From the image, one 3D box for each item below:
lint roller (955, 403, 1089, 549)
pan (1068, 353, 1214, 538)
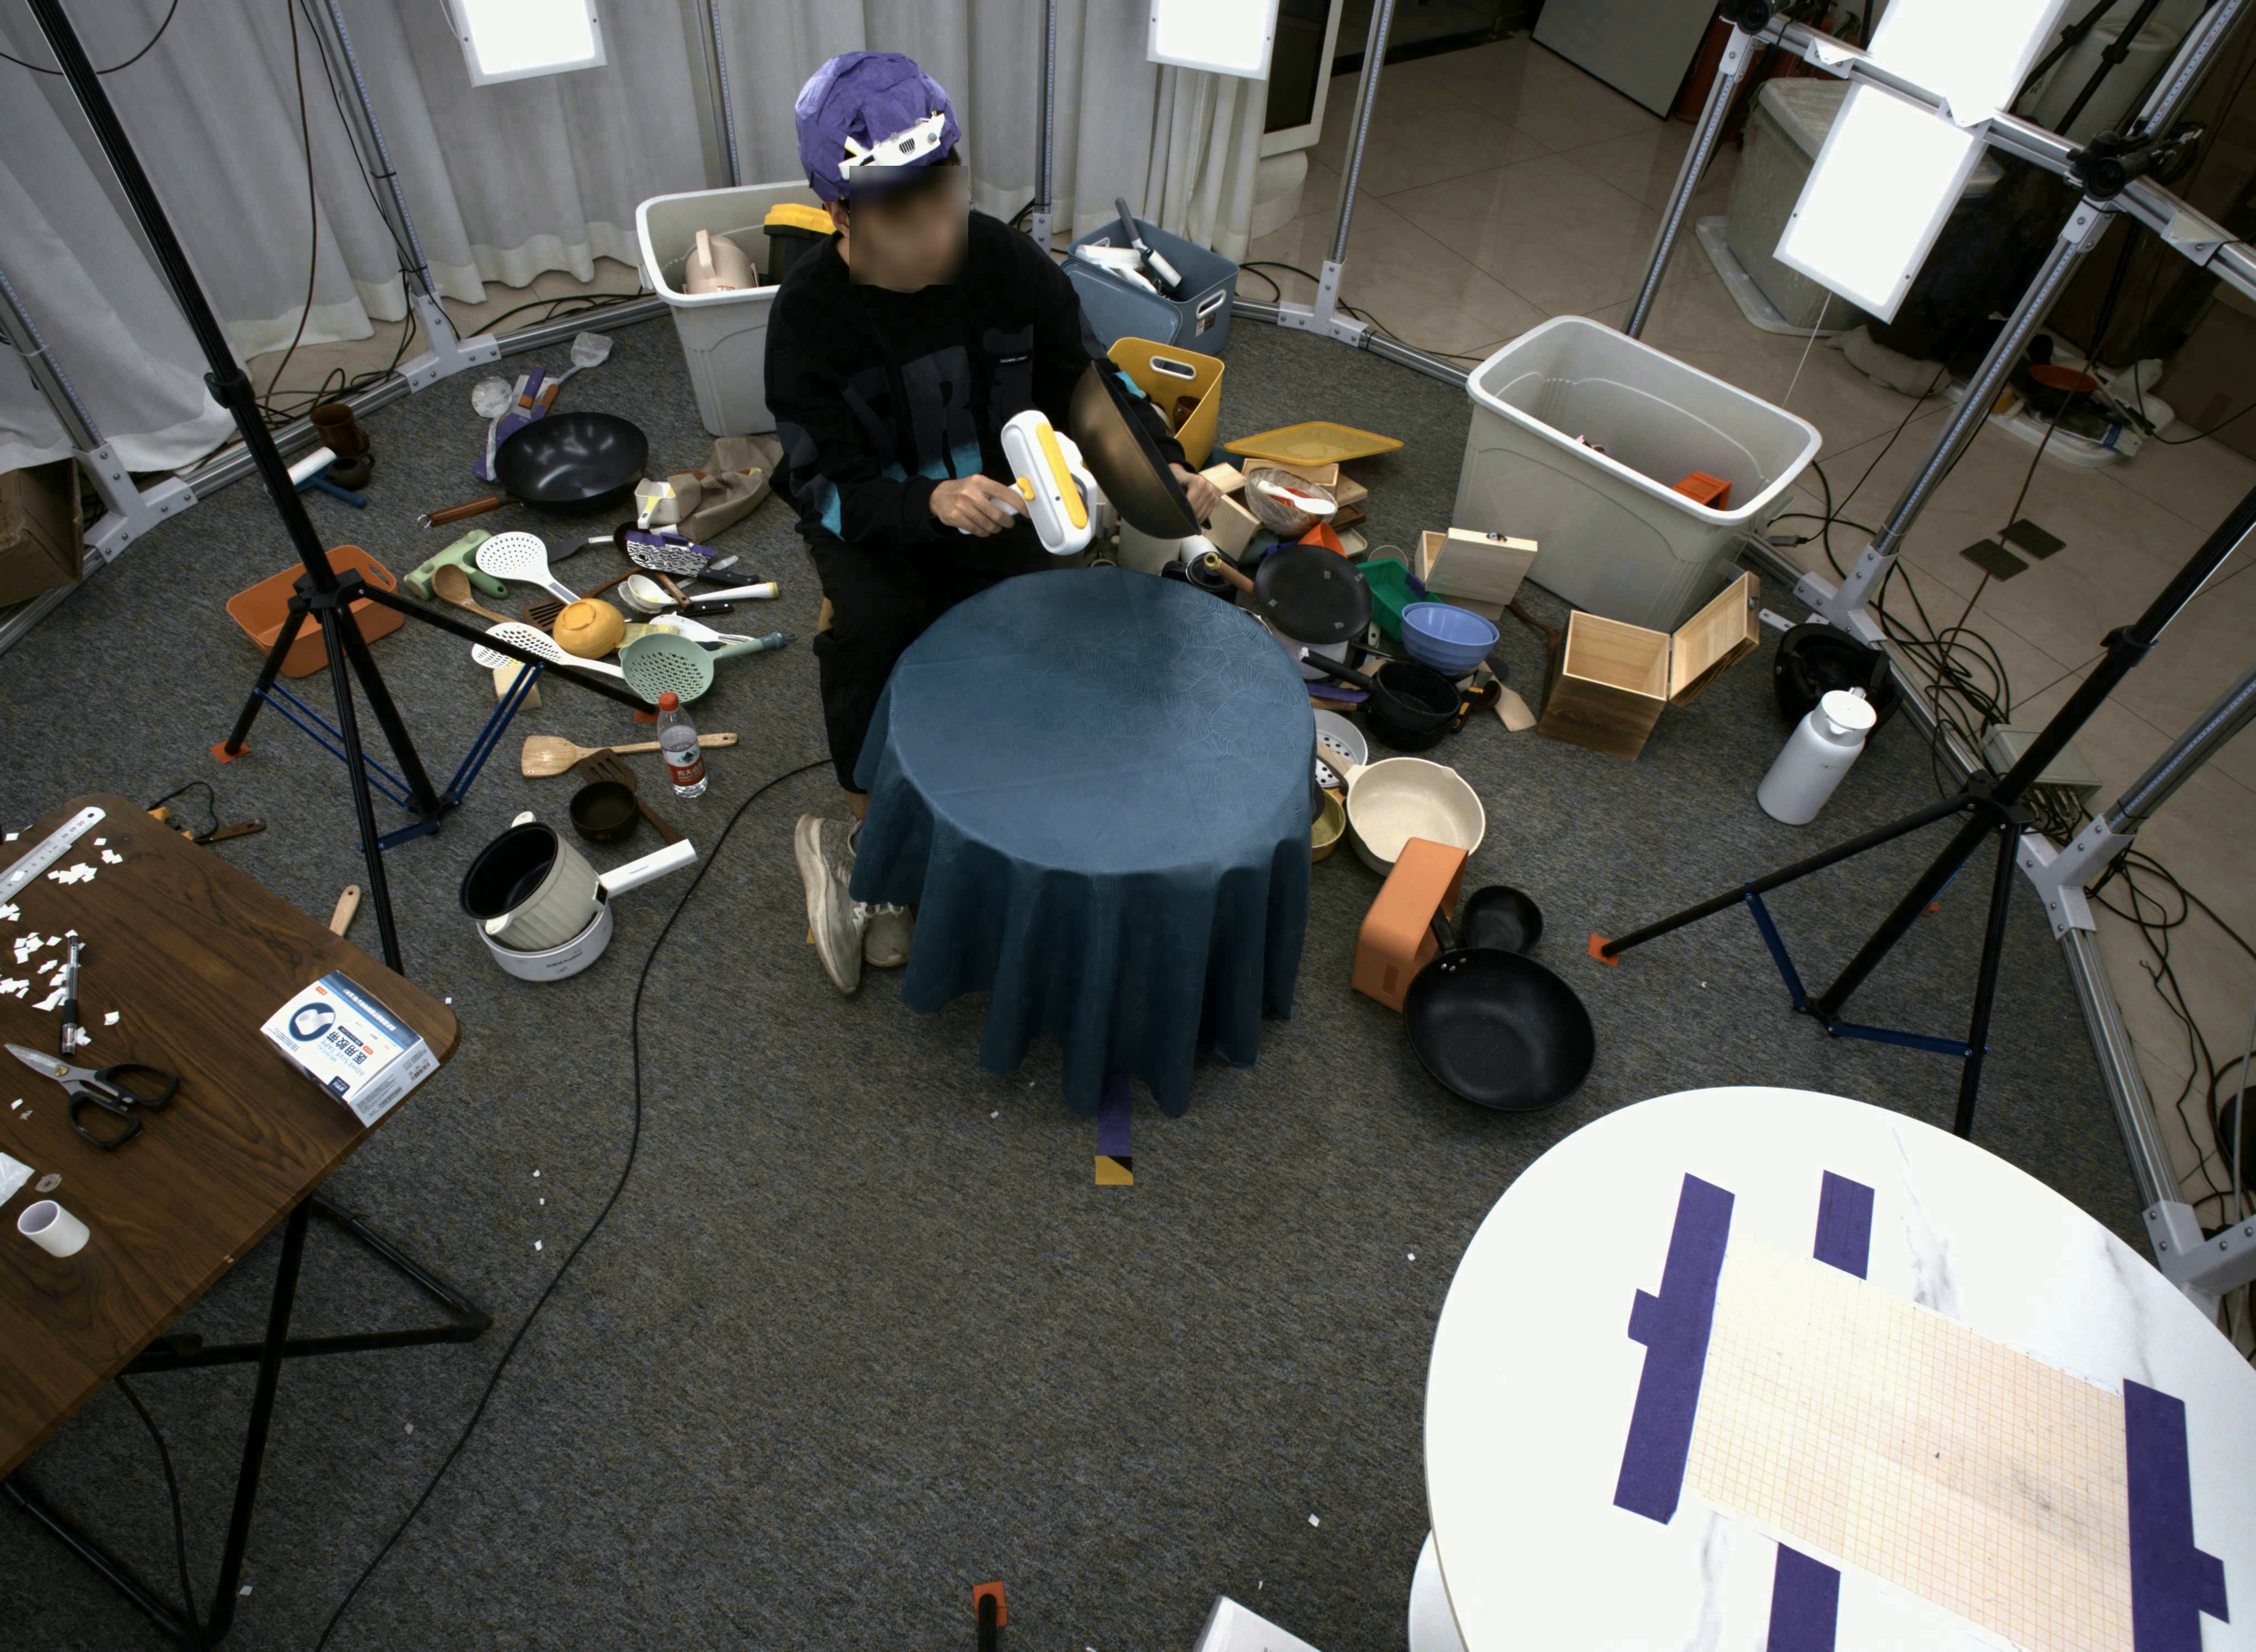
[{"bbox_3d":[-0.156,-0.442,1.734,0.075,0.191,0.192,-36,101,-44],"label":"lint roller"},{"bbox_3d":[0.027,-0.503,1.898,0.086,0.459,0.292,-32,74,13],"label":"pan"}]
